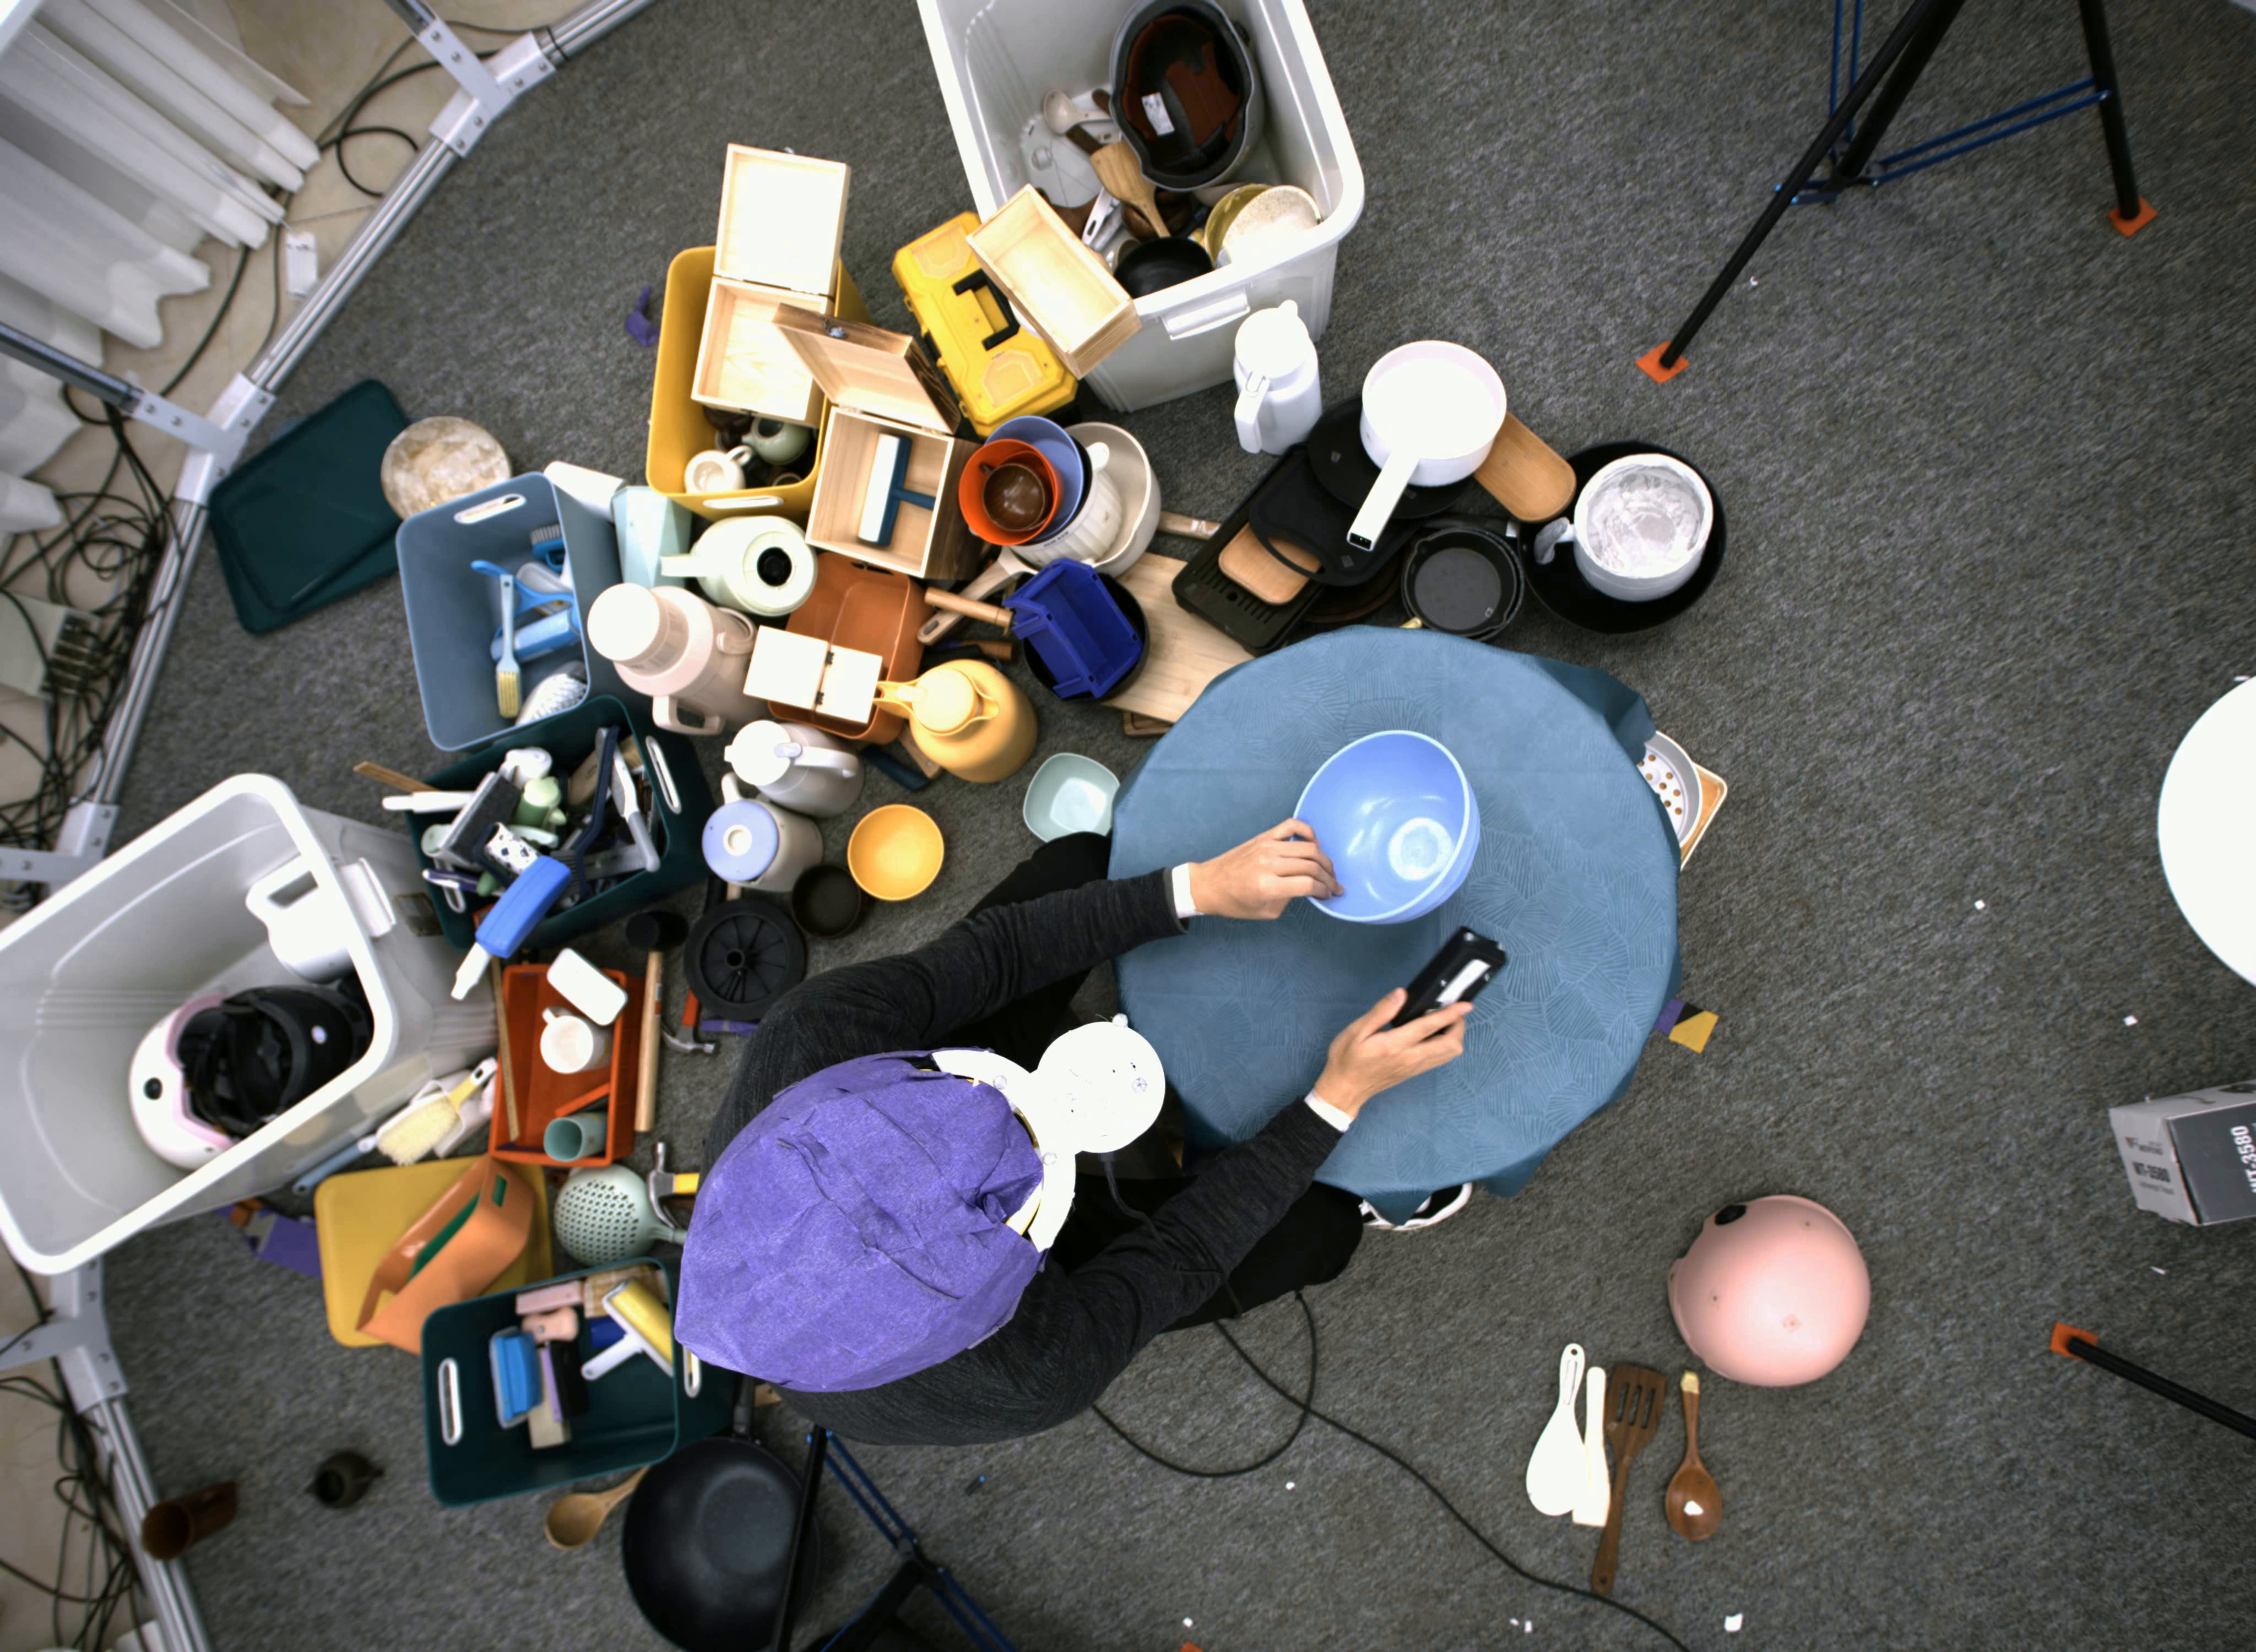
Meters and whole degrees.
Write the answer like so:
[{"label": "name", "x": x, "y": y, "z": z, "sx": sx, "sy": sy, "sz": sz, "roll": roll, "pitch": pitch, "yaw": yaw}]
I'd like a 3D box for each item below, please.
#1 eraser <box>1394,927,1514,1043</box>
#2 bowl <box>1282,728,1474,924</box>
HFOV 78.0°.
[{"label": "eraser", "x": 0.312, "y": 0.152, "z": 1.327, "sx": 0.053, "sy": 0.029, "sz": 0.128, "roll": 24, "pitch": 125, "yaw": -14}, {"label": "bowl", "x": 0.261, "y": 0.008, "z": 1.365, "sx": 0.199, "sy": 0.095, "sz": 0.193, "roll": -12, "pitch": 70, "yaw": 34}]
